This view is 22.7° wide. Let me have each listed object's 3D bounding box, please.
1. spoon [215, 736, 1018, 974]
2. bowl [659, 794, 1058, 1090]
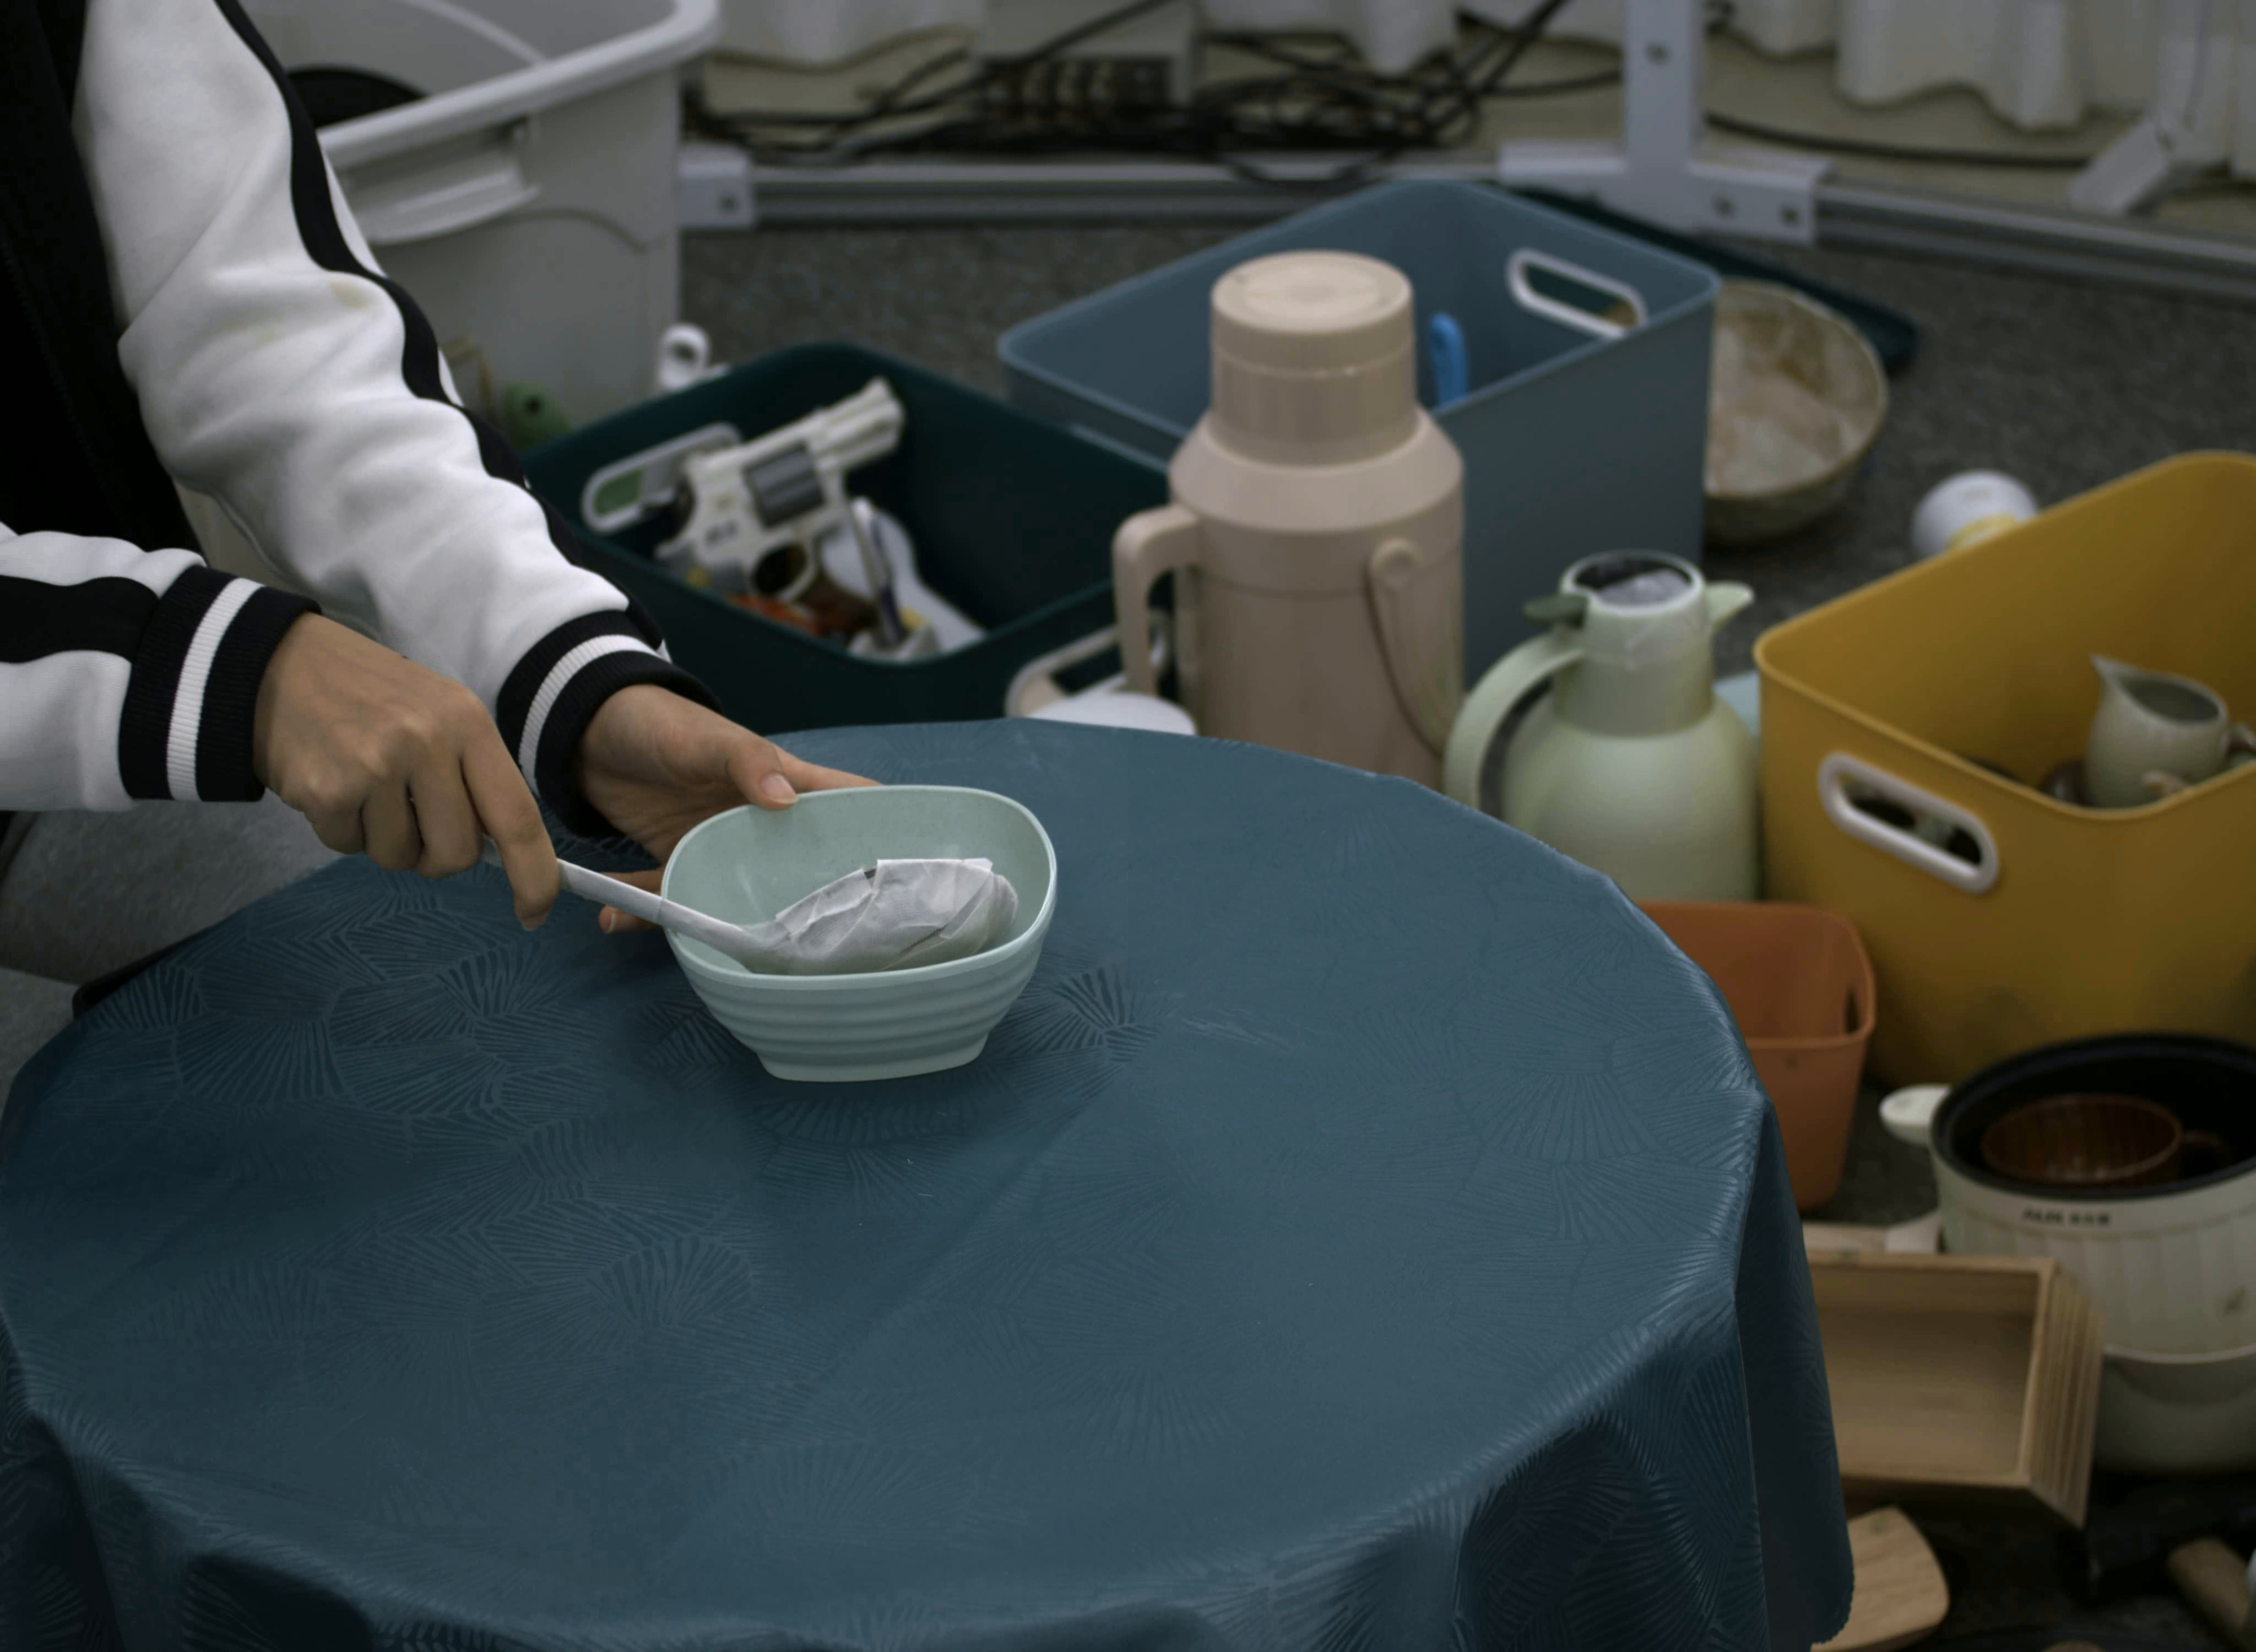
[{"bbox_3d":[-0.176,0.006,1.937,0.276,0.099,0.060,20,47,5],"label":"spoon"},{"bbox_3d":[-0.092,0.046,1.960,0.151,0.058,0.154,-3,27,2],"label":"bowl"}]
